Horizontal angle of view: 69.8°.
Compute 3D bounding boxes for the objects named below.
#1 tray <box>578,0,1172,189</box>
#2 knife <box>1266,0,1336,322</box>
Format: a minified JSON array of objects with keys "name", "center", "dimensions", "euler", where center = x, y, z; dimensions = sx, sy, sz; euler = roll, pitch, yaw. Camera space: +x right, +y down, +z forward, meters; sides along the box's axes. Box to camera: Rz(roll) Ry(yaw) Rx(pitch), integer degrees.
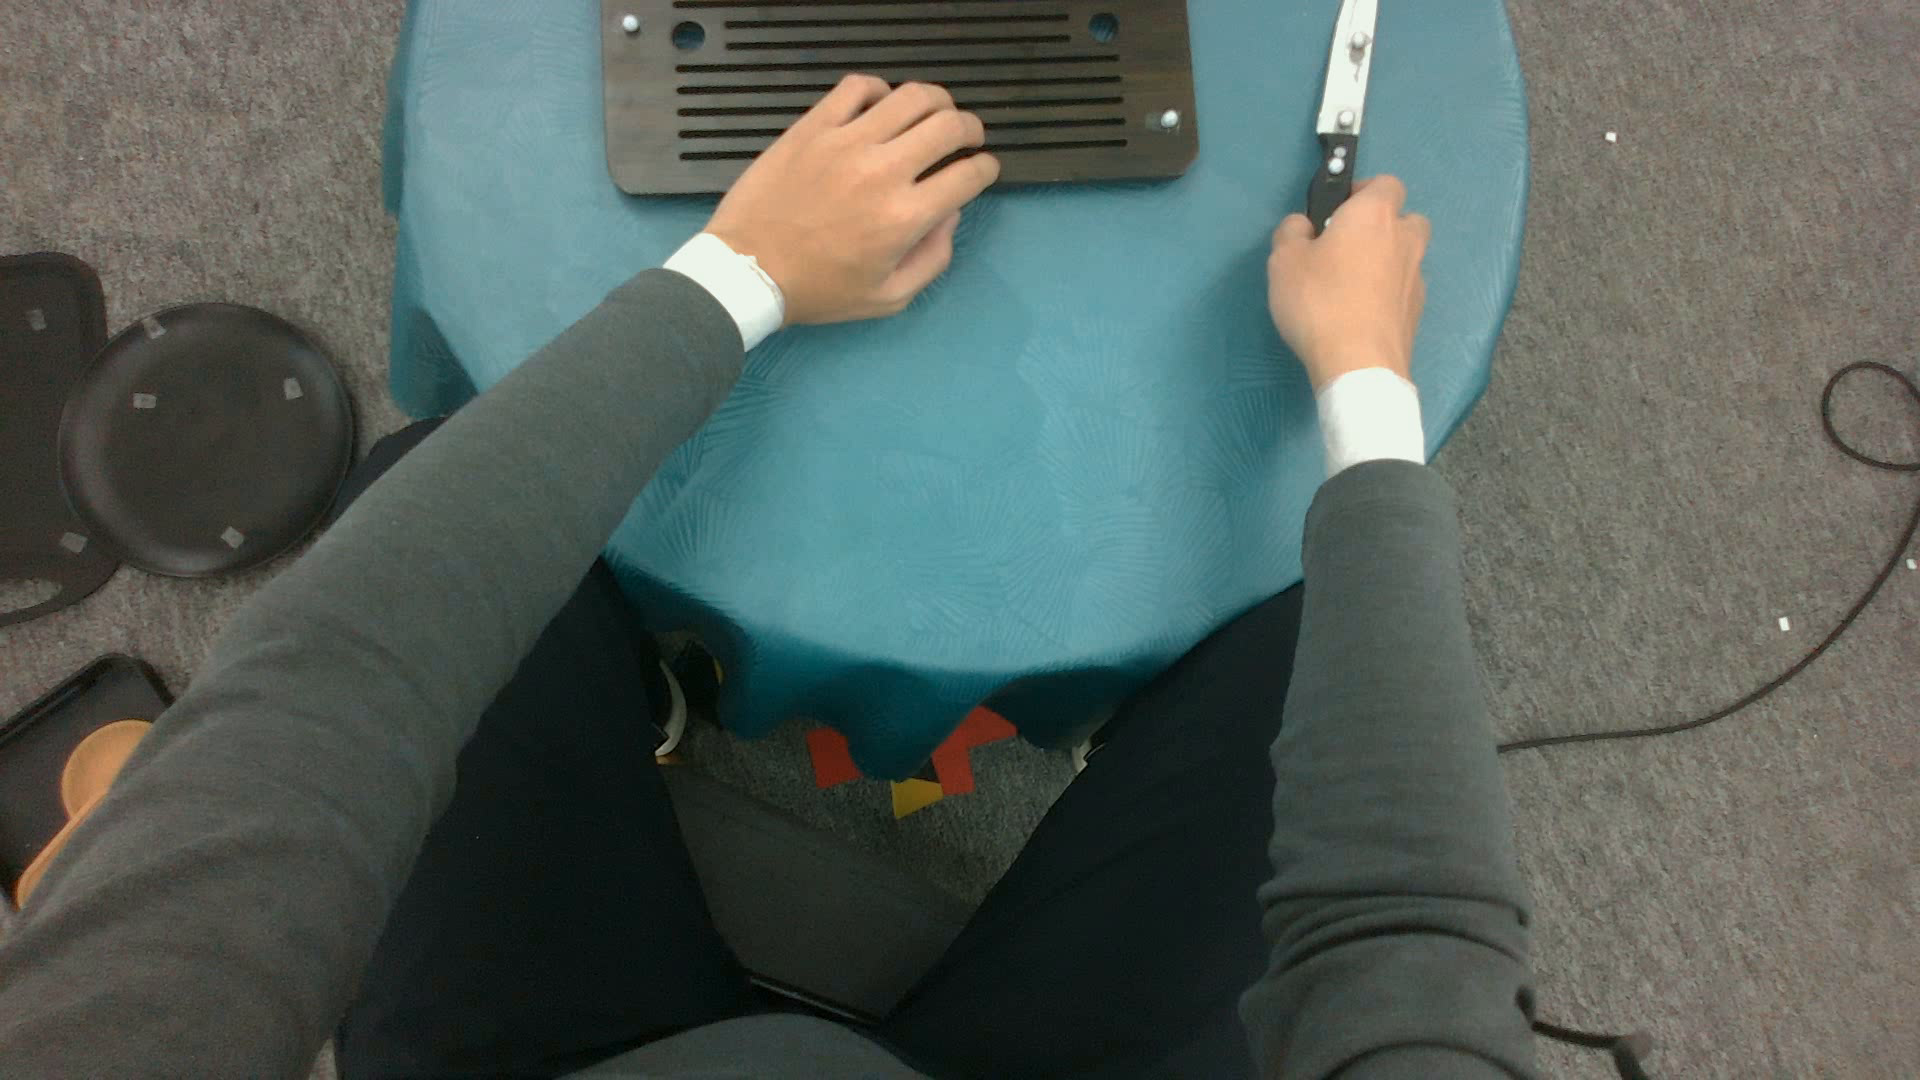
[{"name":"tray","center":[-0.044,-0.270,0.727],"dimensions":[0.306,0.018,0.170],"euler":[-4,82,-7]},{"name":"knife","center":[0.186,-0.222,0.735],"dimensions":[0.024,0.016,0.239],"euler":[7,70,11]}]
